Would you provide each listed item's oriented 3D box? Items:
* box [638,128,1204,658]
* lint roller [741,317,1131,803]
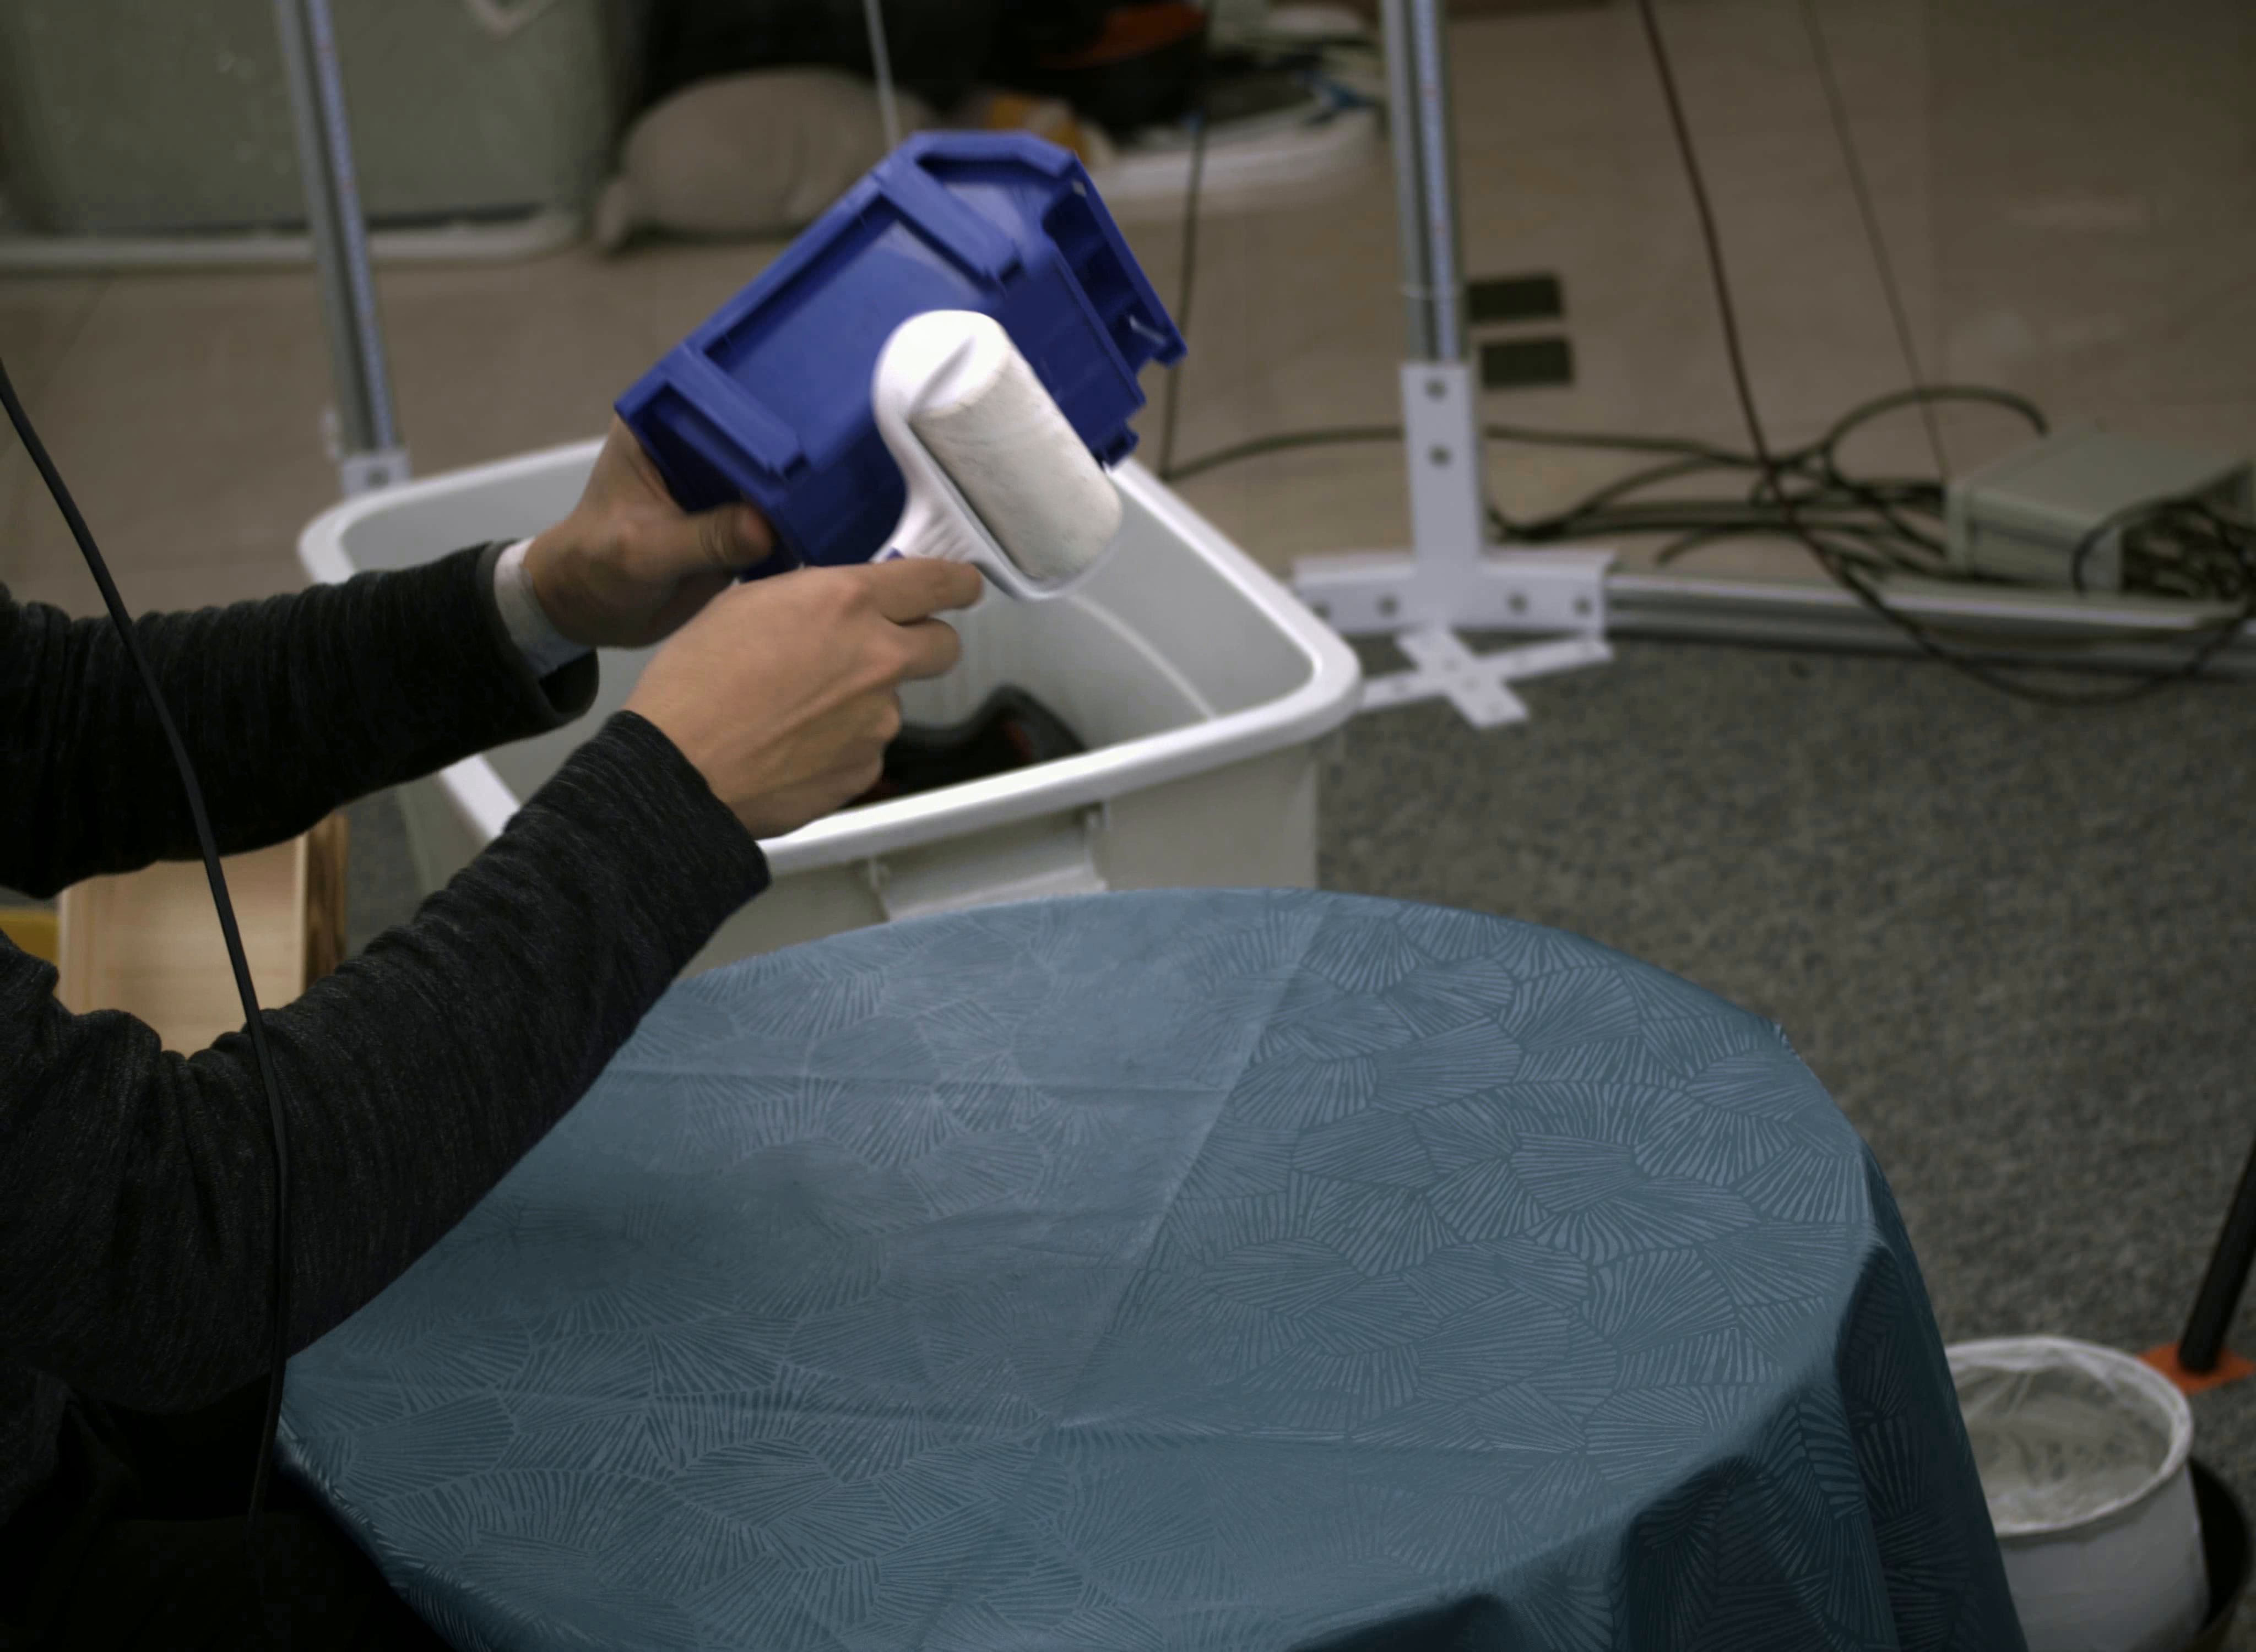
[{"bbox_3d":[-0.068,-0.160,2.062,0.179,0.126,0.081,-45,53,-7],"label":"box"},{"bbox_3d":[-0.073,-0.080,1.988,0.050,0.135,0.179,19,67,35],"label":"lint roller"}]
